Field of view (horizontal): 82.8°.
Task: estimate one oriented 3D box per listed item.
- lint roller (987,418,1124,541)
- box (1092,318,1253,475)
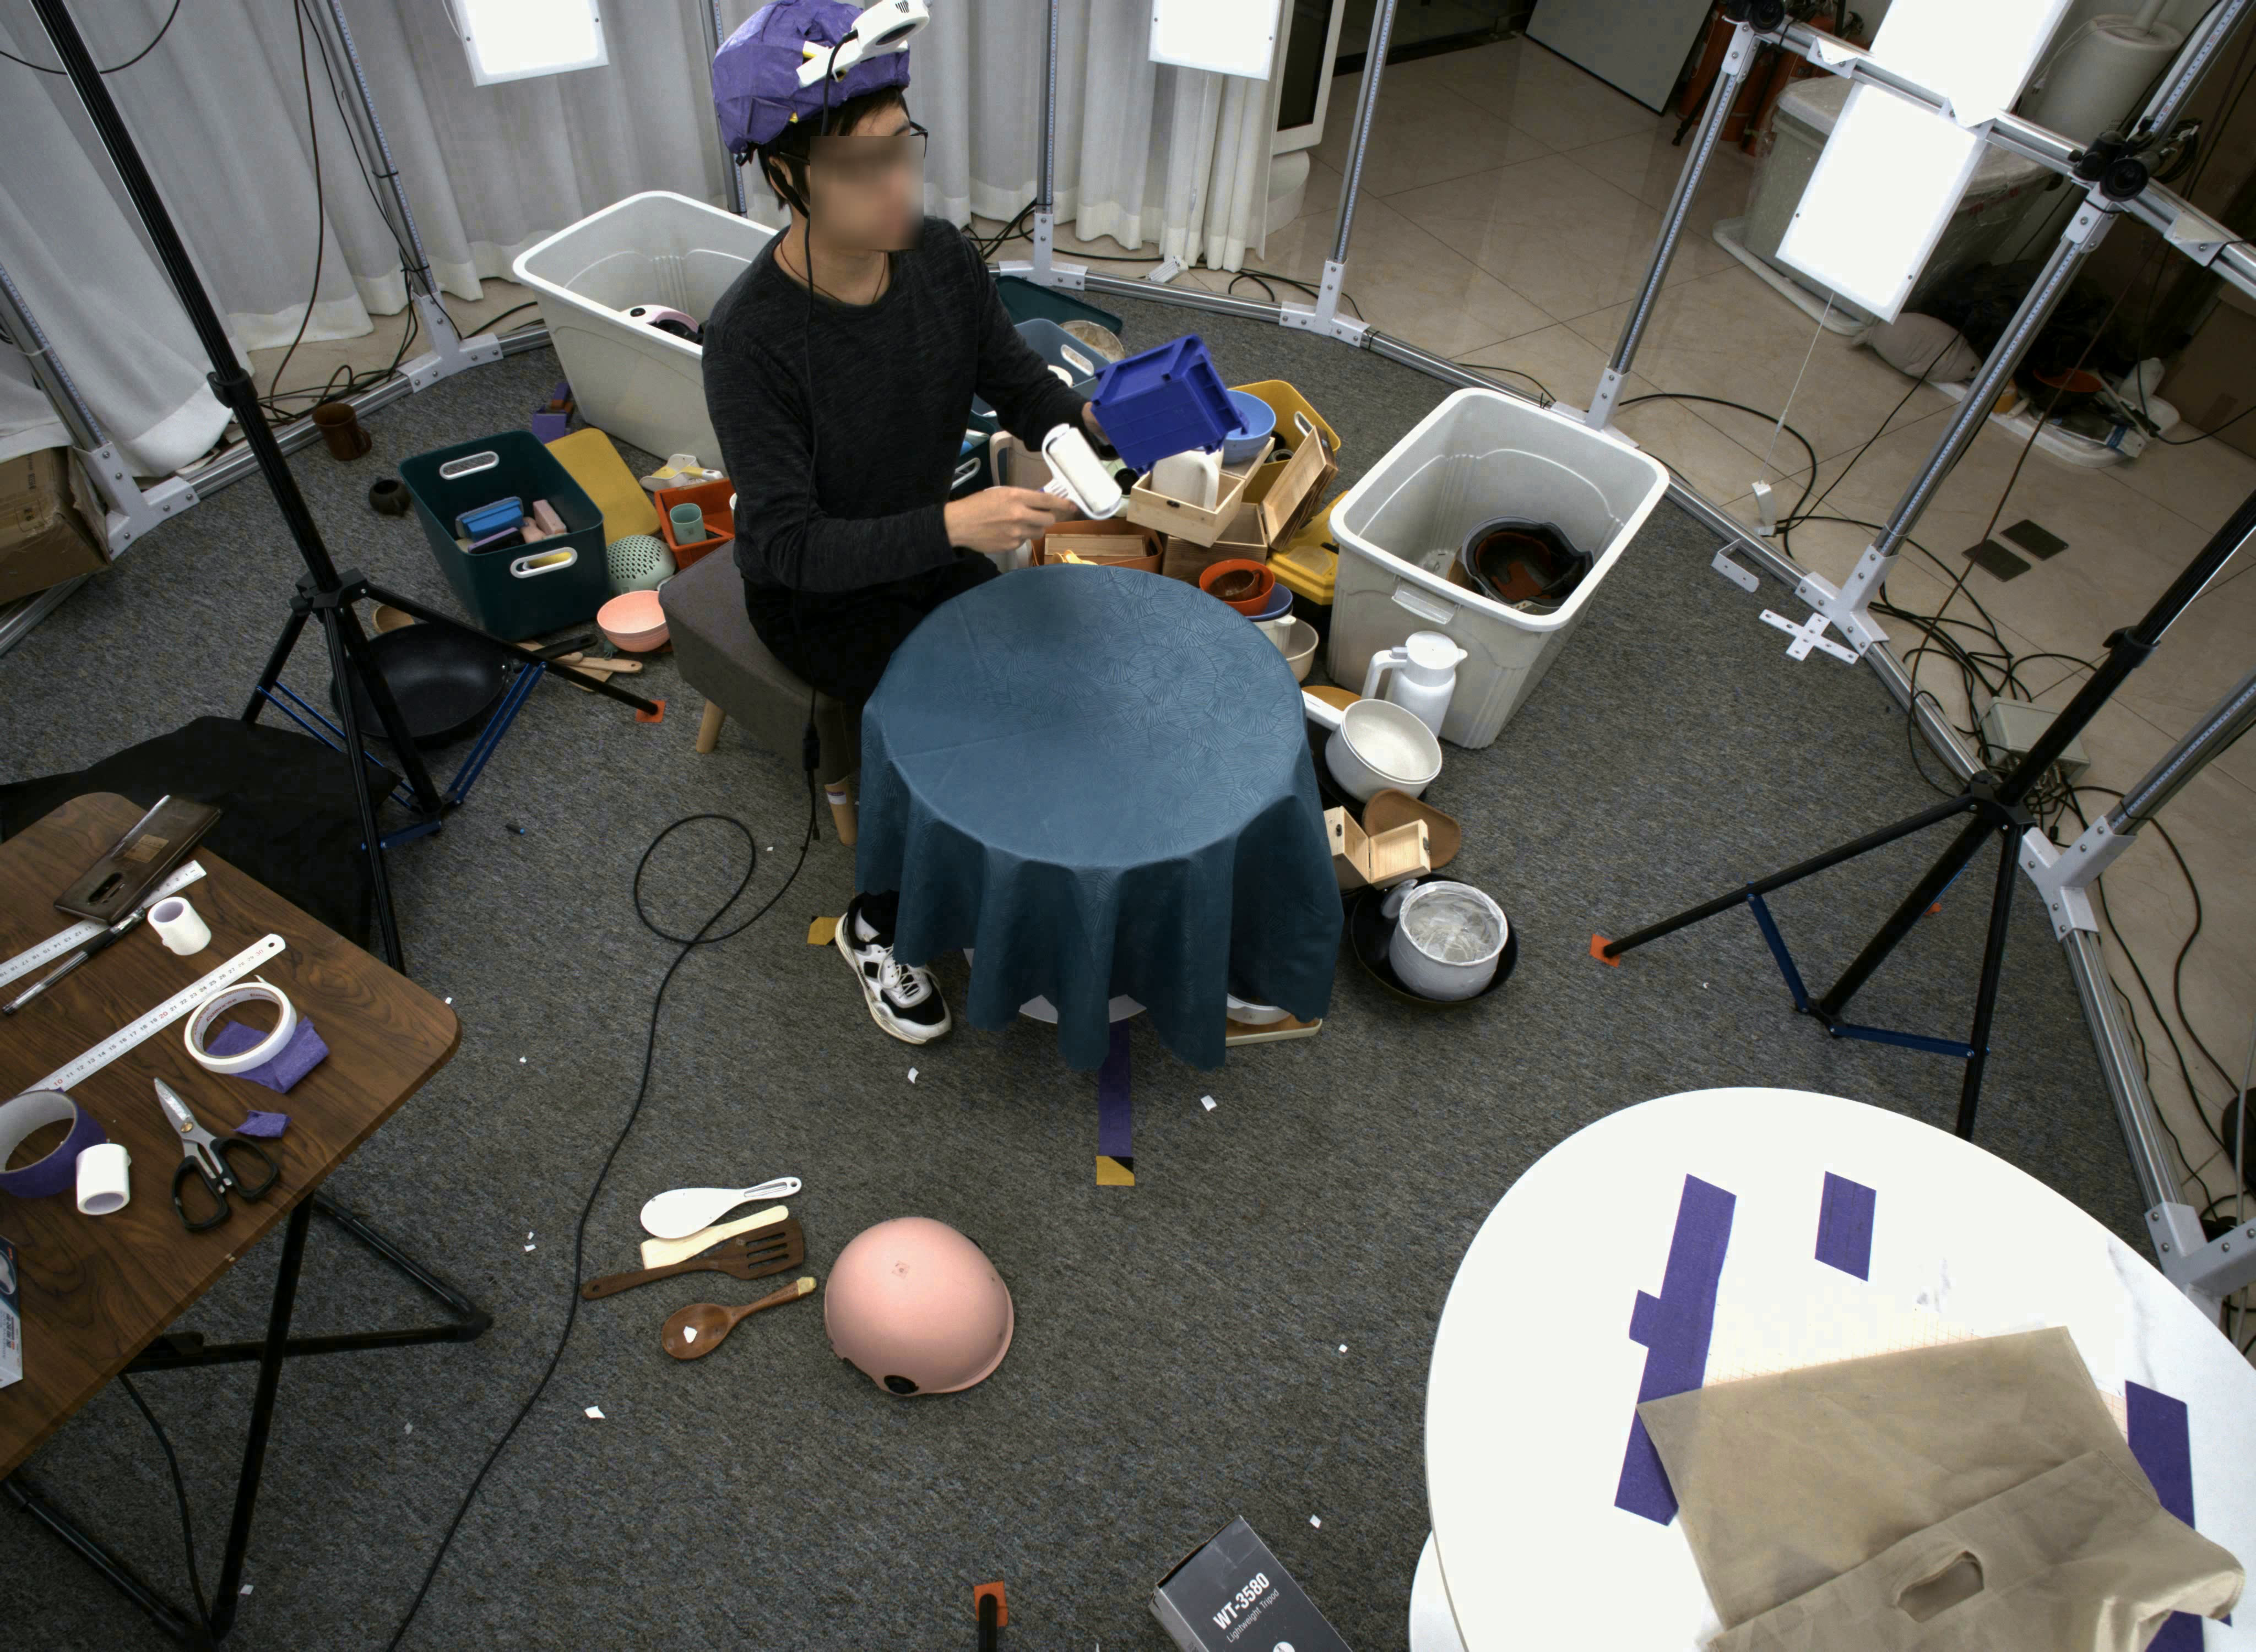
[{"bbox_3d":[-0.107,-0.420,1.645,0.180,0.130,0.051,-35,28,8],"label":"lint roller"},{"bbox_3d":[0.055,-0.523,1.593,0.179,0.122,0.083,-11,42,34],"label":"box"}]
